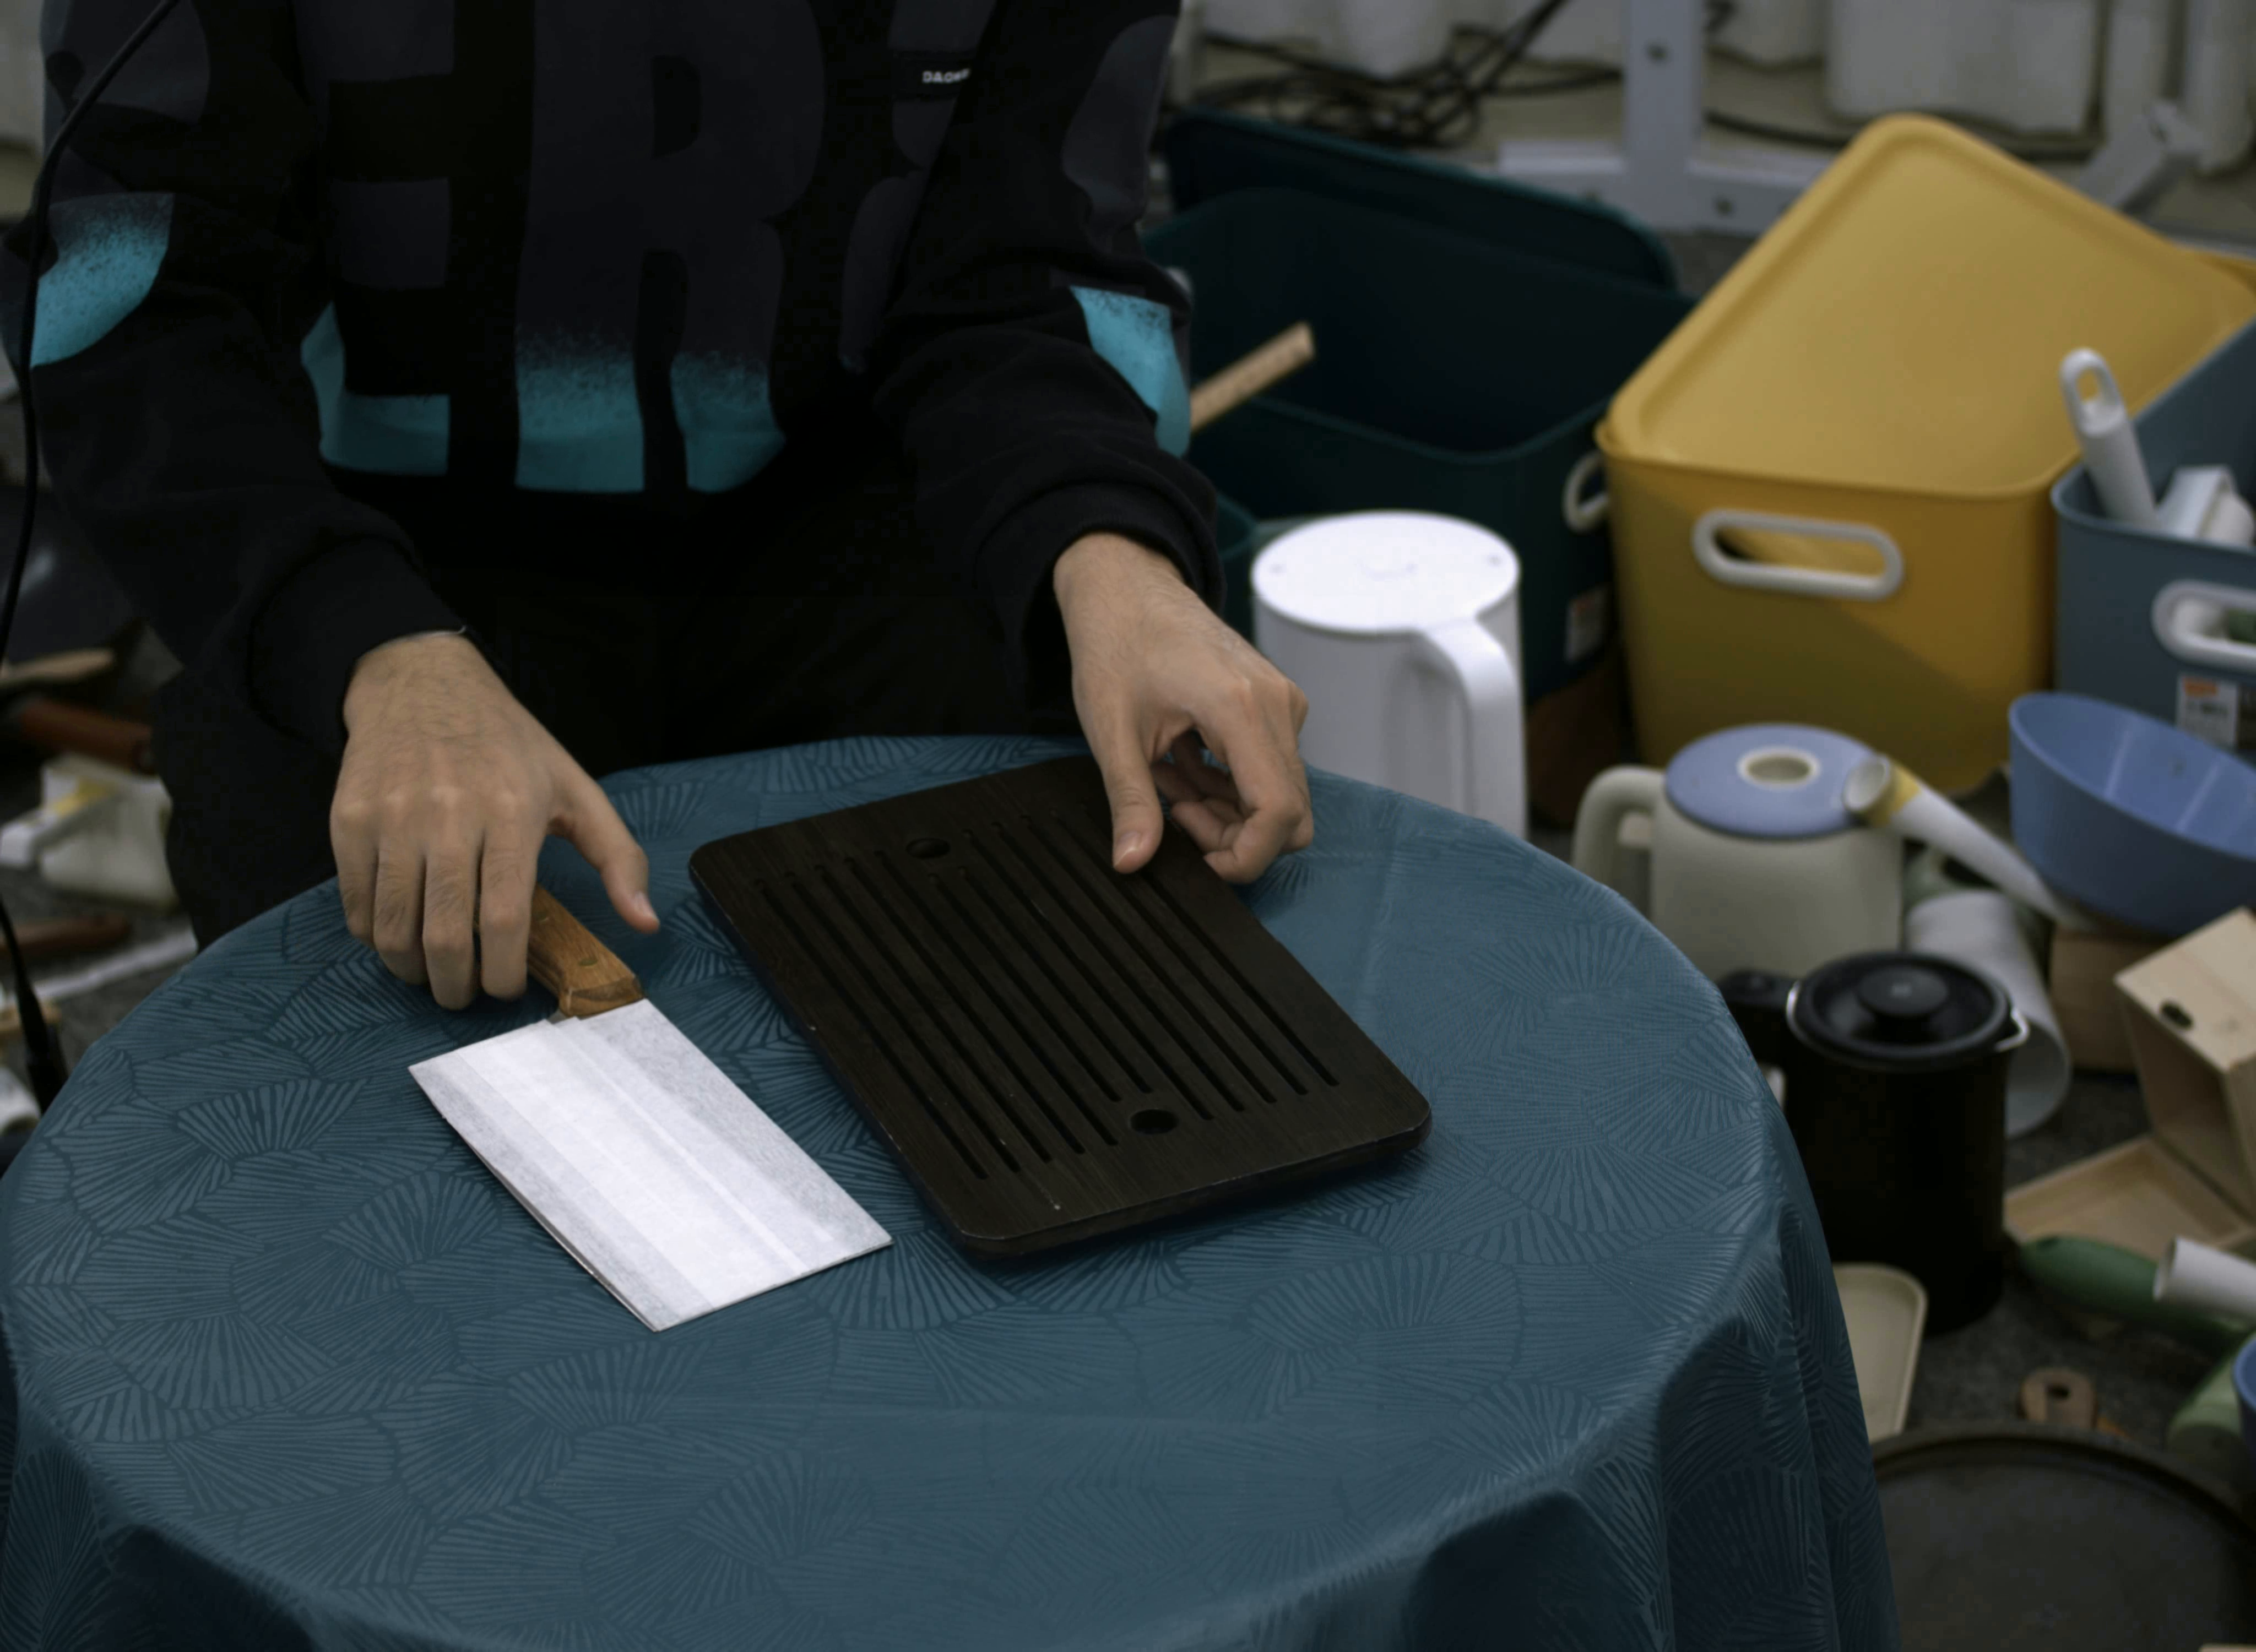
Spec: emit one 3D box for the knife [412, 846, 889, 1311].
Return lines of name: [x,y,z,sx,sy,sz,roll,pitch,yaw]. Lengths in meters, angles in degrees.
knife: [-0.191,0.087,1.932,0.093,0.021,0.307,-19,34,-25]

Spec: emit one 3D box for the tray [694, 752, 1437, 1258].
tray: [-0.028,0.059,1.965,0.170,0.018,0.308,-13,29,-18]
